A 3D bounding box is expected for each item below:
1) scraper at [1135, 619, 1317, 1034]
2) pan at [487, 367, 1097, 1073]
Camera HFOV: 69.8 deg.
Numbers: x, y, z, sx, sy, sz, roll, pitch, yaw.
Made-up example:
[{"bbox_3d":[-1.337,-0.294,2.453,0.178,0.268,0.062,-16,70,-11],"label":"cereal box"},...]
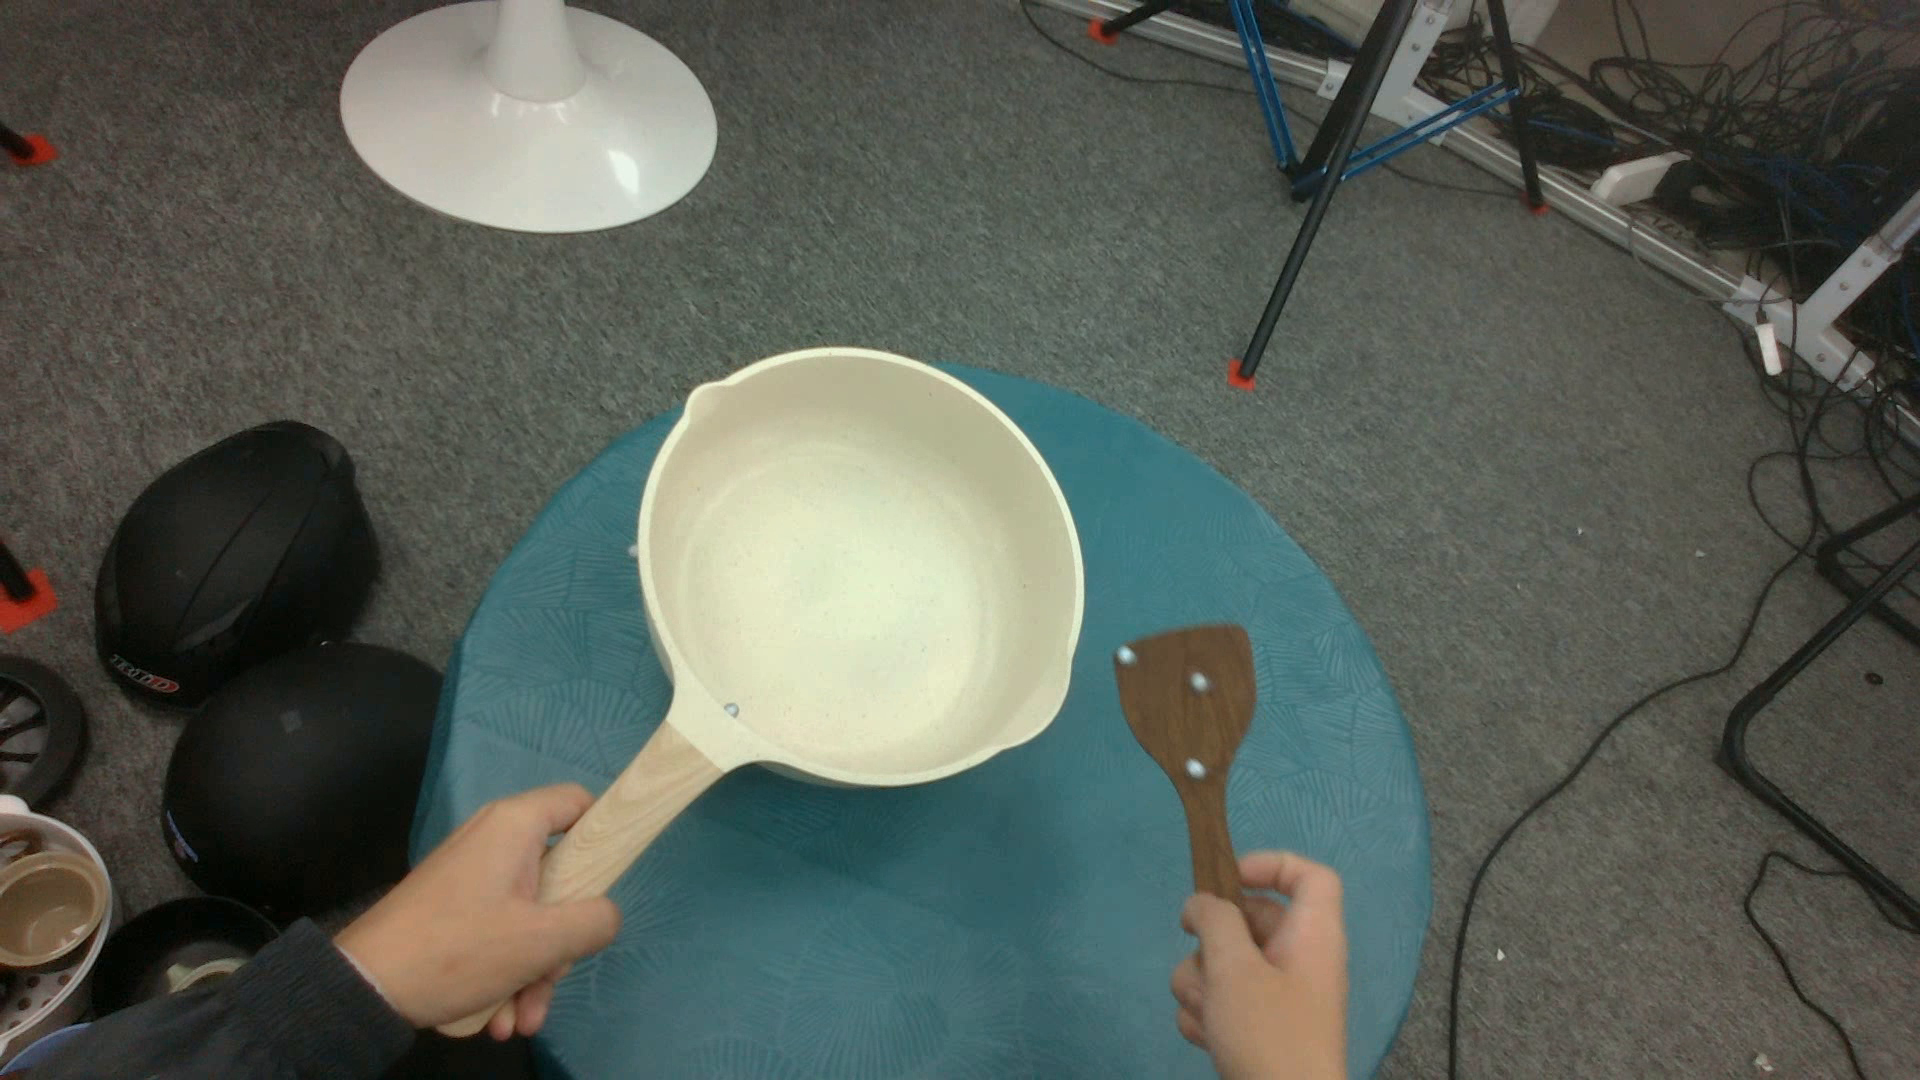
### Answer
[{"bbox_3d":[0.140,0.137,0.686,0.076,0.011,0.212,-15,55,12],"label":"scraper"},{"bbox_3d":[-0.099,0.091,0.742,0.263,0.101,0.437,39,61,-2],"label":"pan"}]
